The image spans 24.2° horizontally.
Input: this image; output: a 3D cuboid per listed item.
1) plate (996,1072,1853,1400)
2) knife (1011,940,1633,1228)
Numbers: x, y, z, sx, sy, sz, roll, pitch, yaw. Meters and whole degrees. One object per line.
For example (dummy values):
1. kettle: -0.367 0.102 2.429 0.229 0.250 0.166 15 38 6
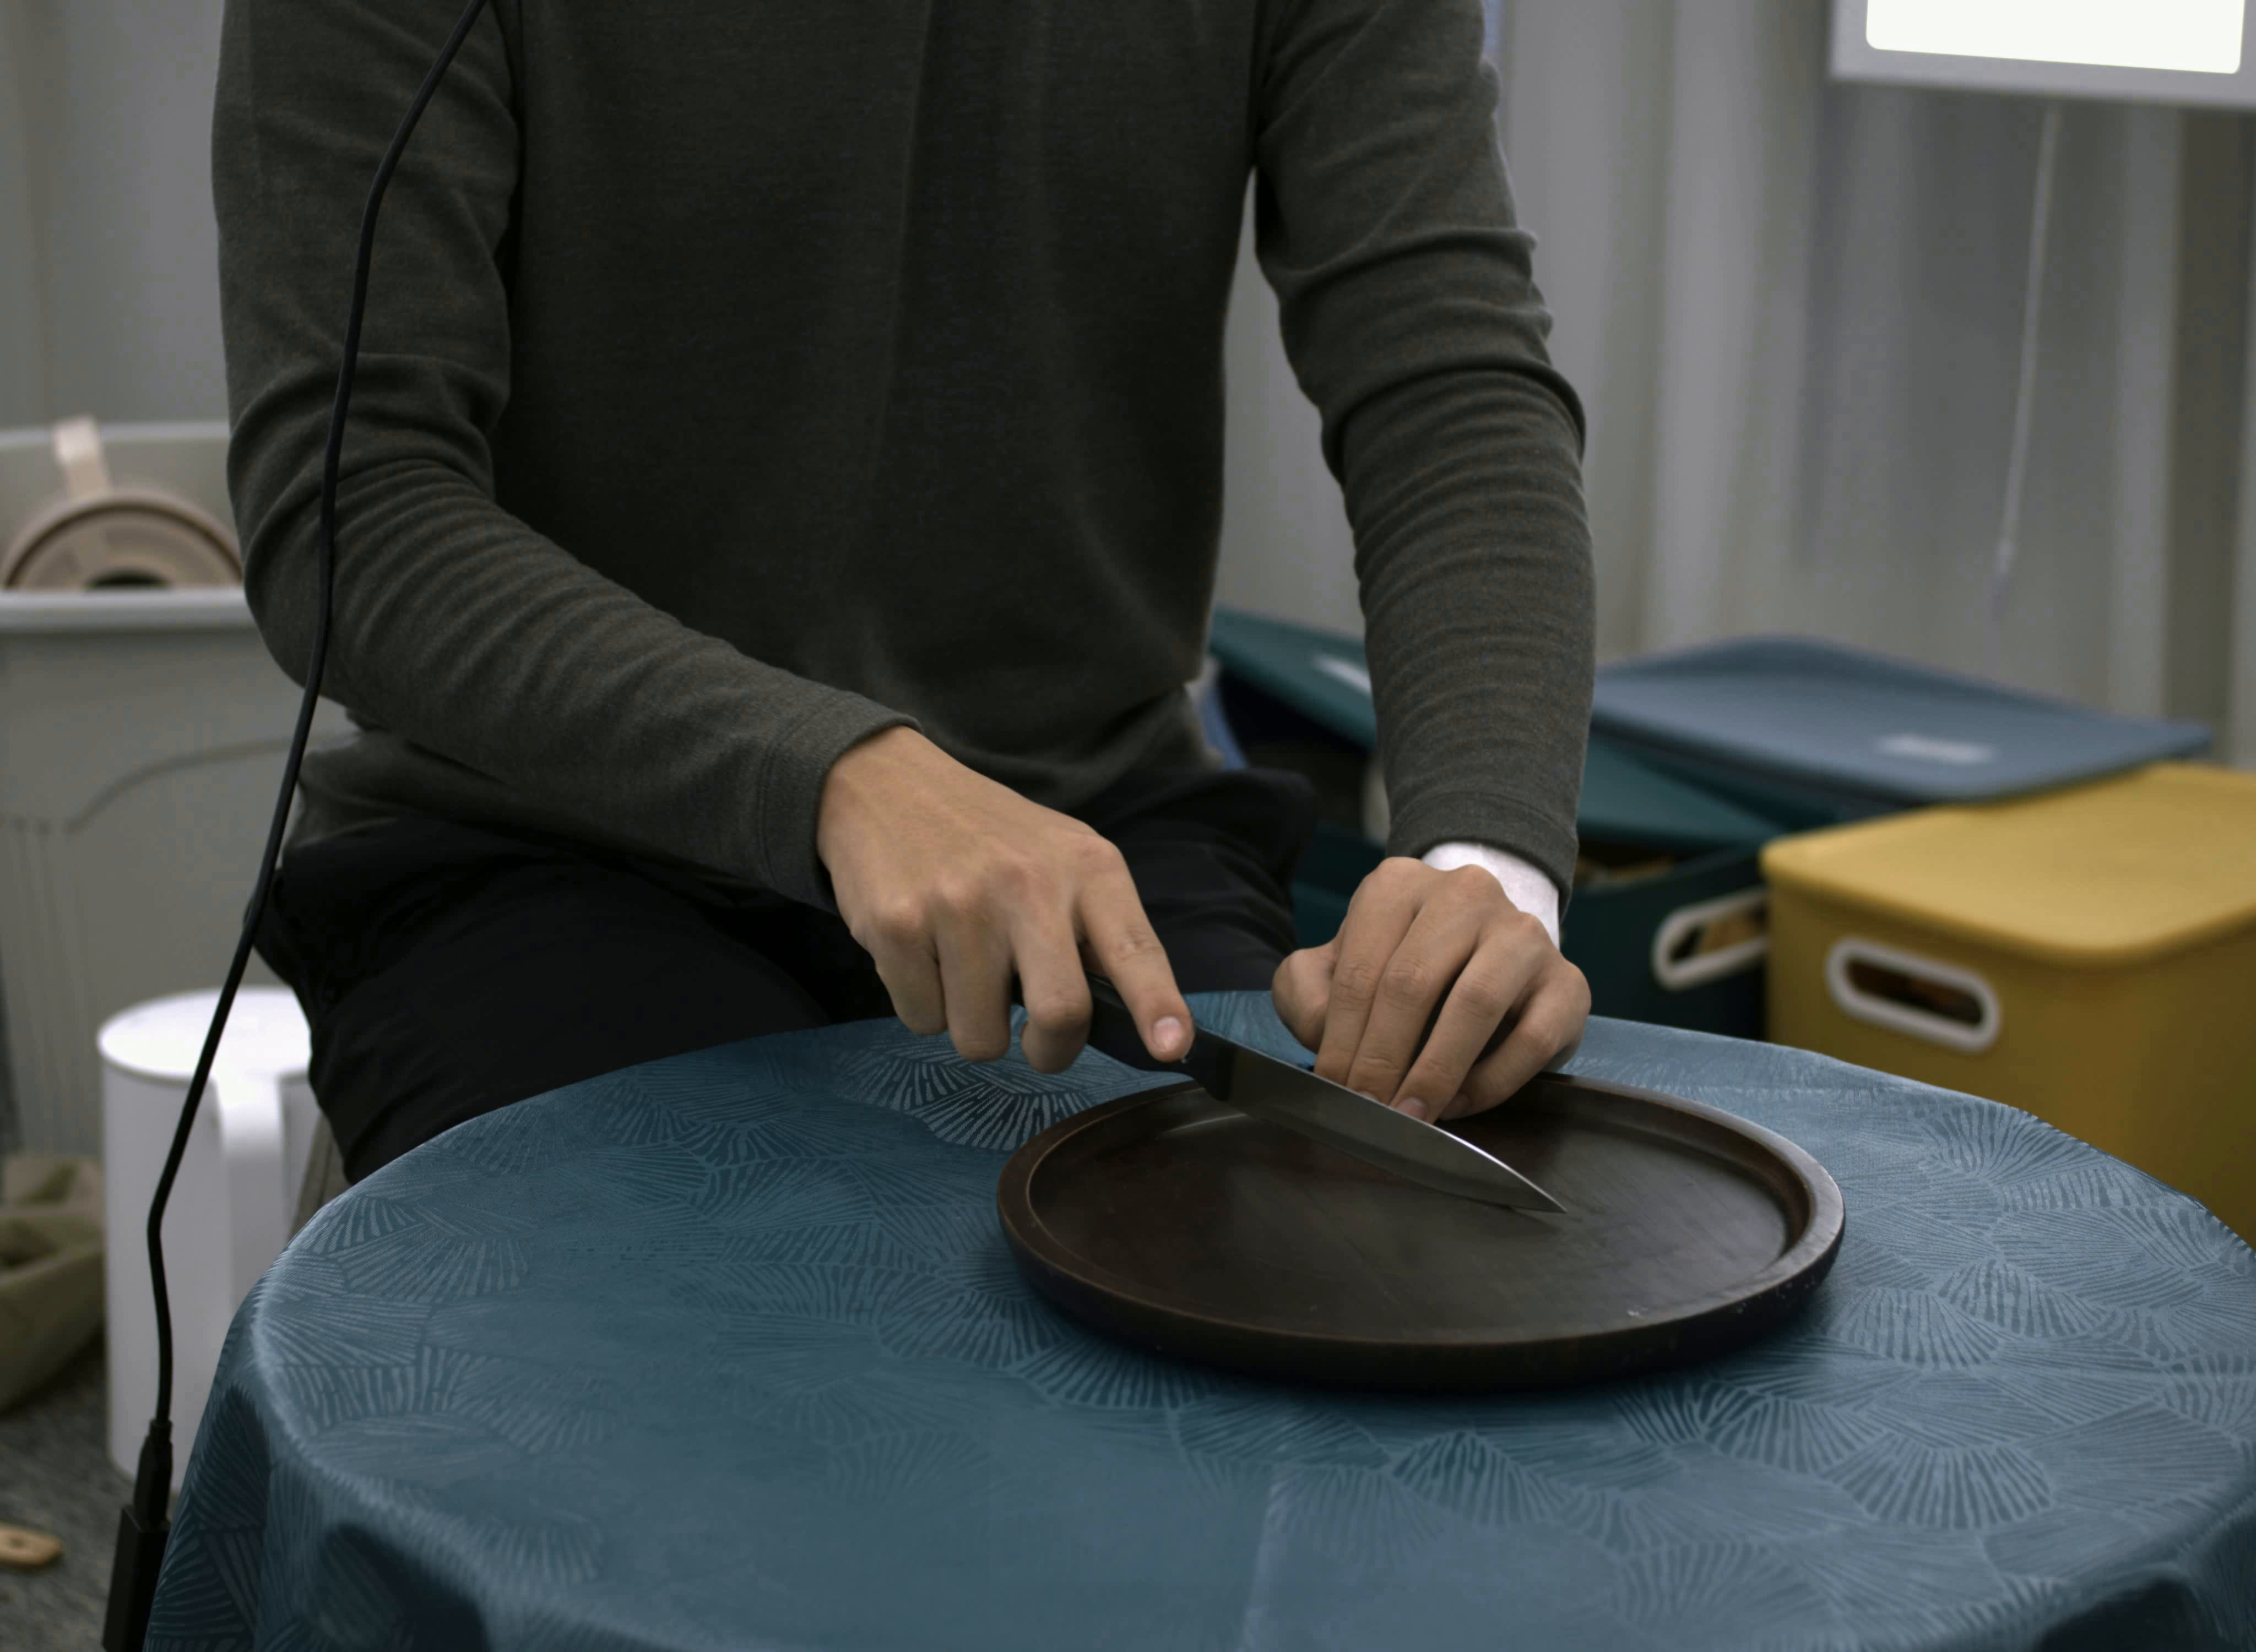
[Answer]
1. plate: 0.088 0.118 1.564 0.254 0.029 0.253 2 16 0
2. knife: 0.058 0.078 1.615 0.235 0.024 0.016 22 19 33
